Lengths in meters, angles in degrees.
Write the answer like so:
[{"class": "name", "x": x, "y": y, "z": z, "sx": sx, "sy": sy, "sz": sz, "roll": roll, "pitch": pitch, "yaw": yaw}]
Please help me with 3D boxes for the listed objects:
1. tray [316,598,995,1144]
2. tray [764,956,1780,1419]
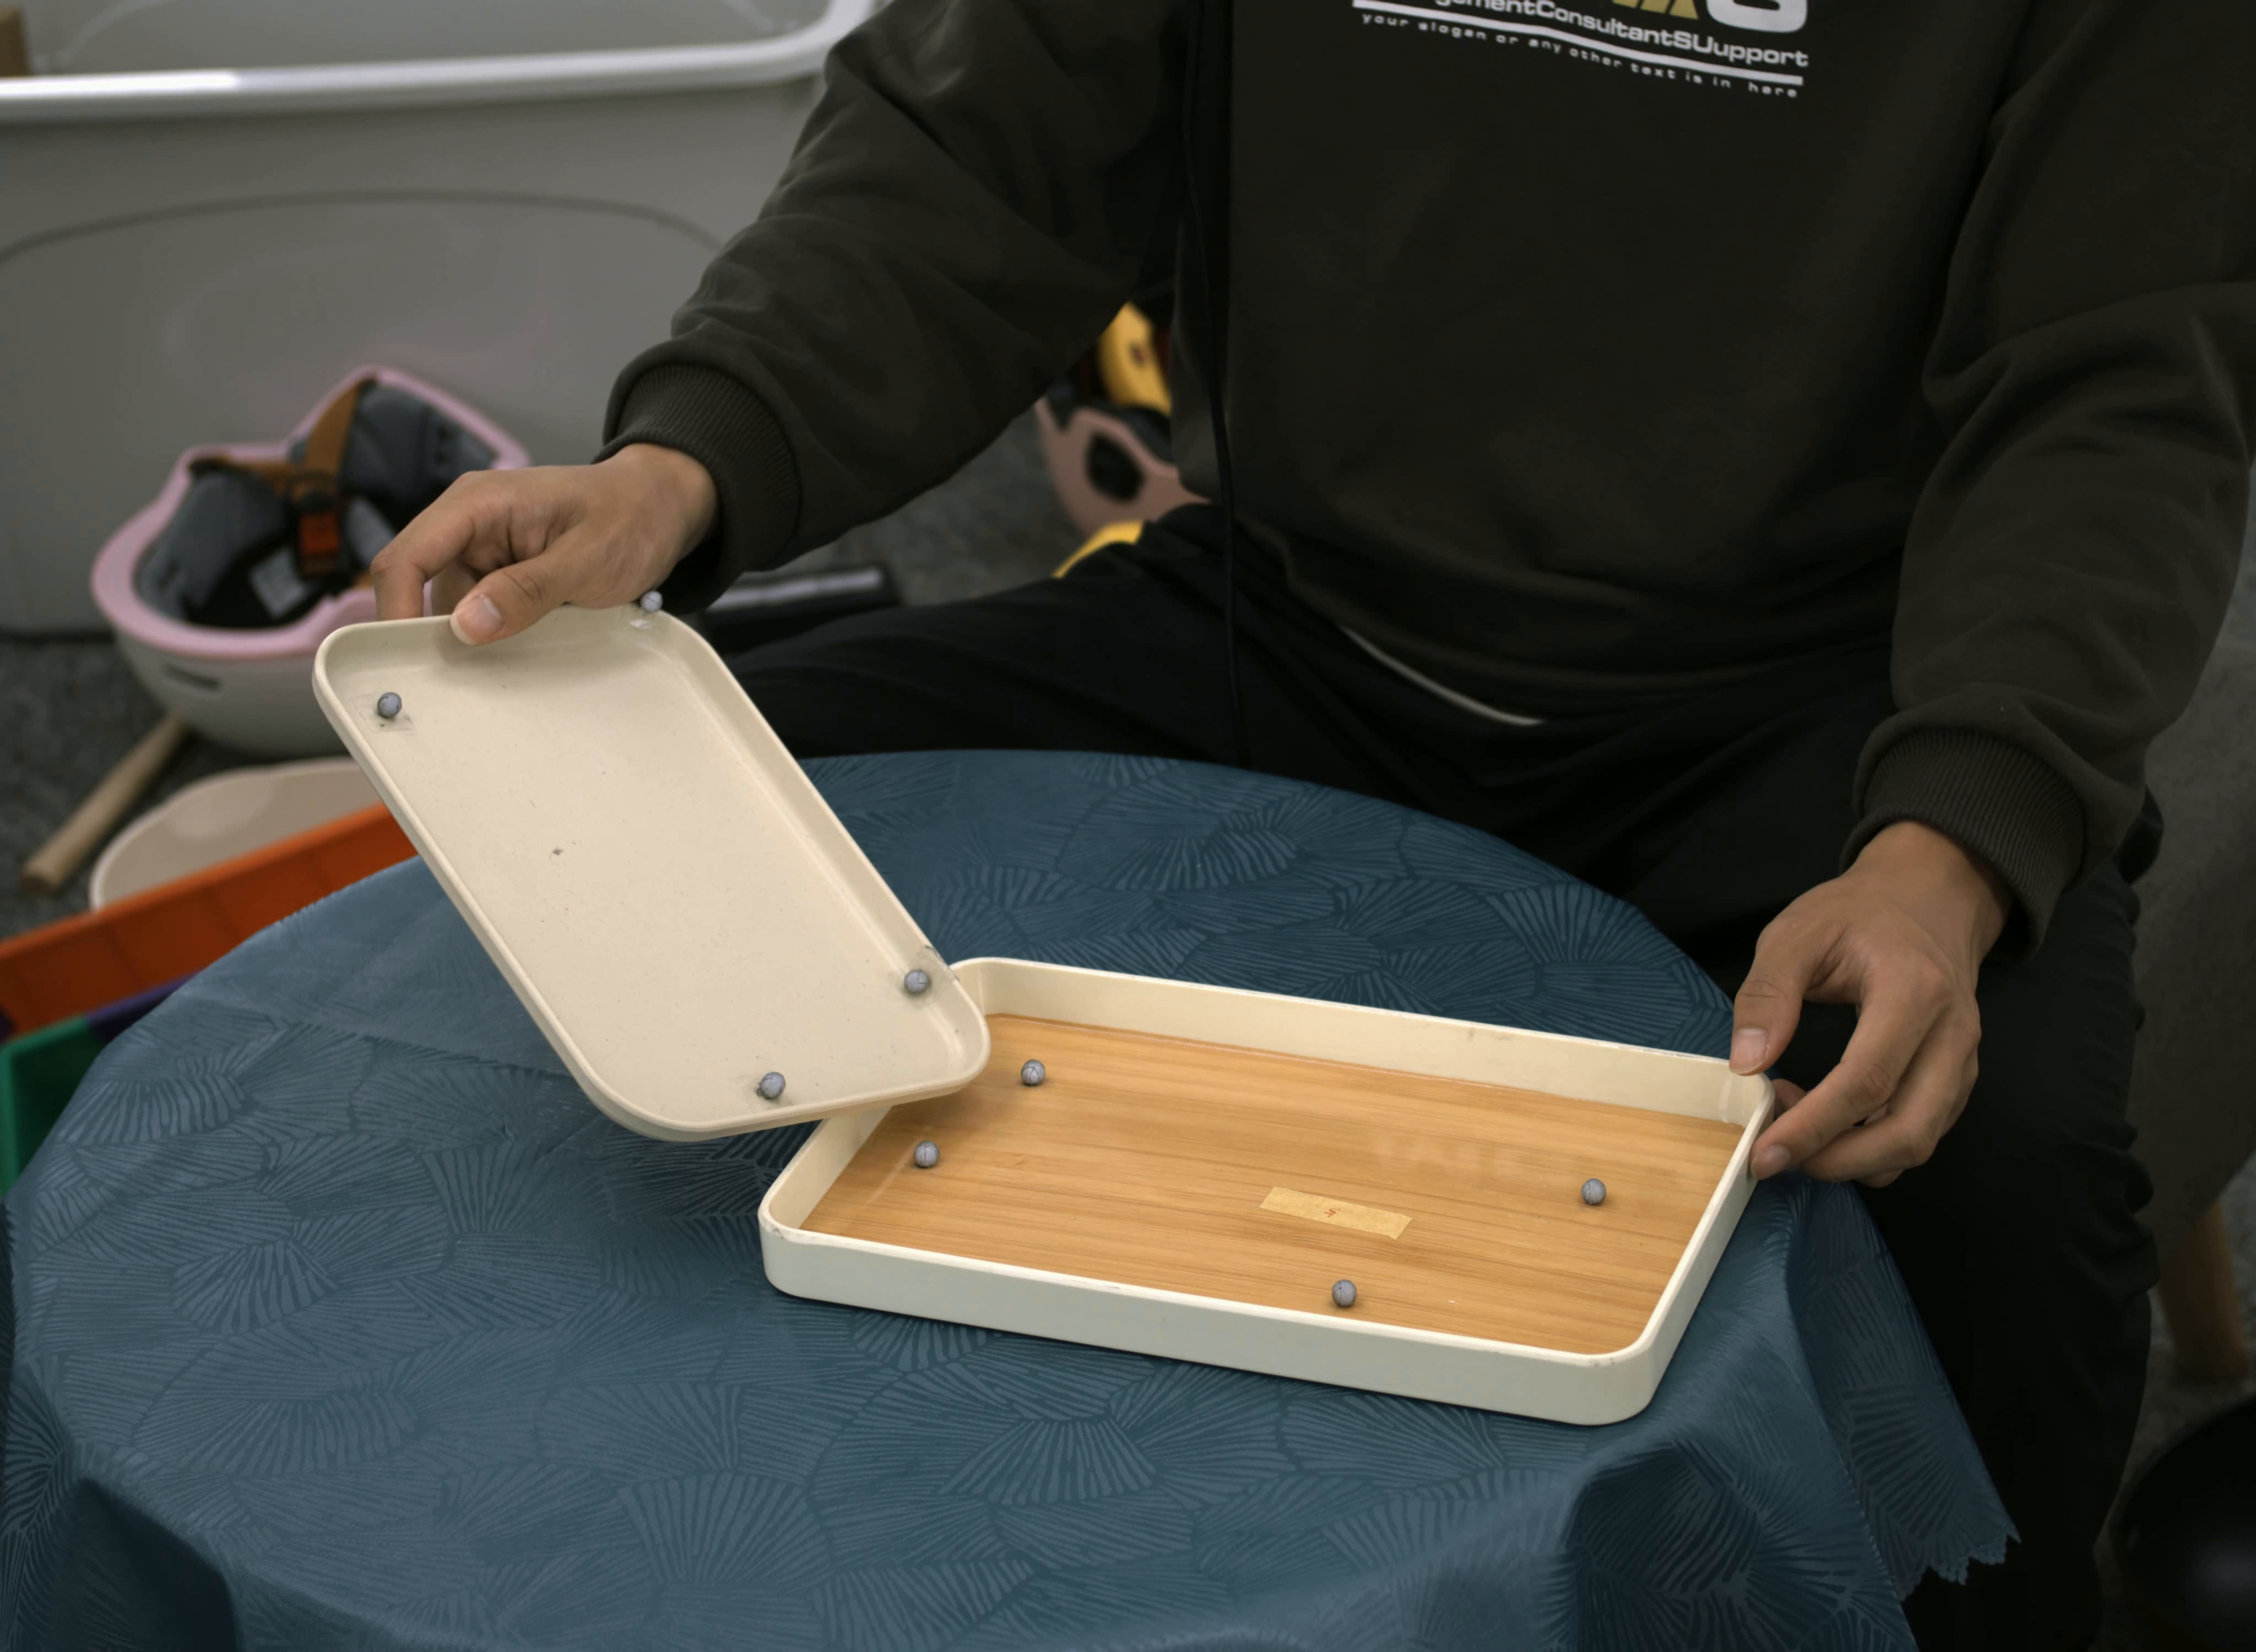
[{"class": "tray", "x": -0.162, "y": 0.014, "z": 1.907, "sx": 0.172, "sy": 0.017, "sz": 0.242, "roll": -7, "pitch": 49, "yaw": -43}, {"class": "tray", "x": 0.049, "y": 0.115, "z": 1.845, "sx": 0.298, "sy": 0.027, "sz": 0.195, "roll": 8, "pitch": 29, "yaw": 18}]
